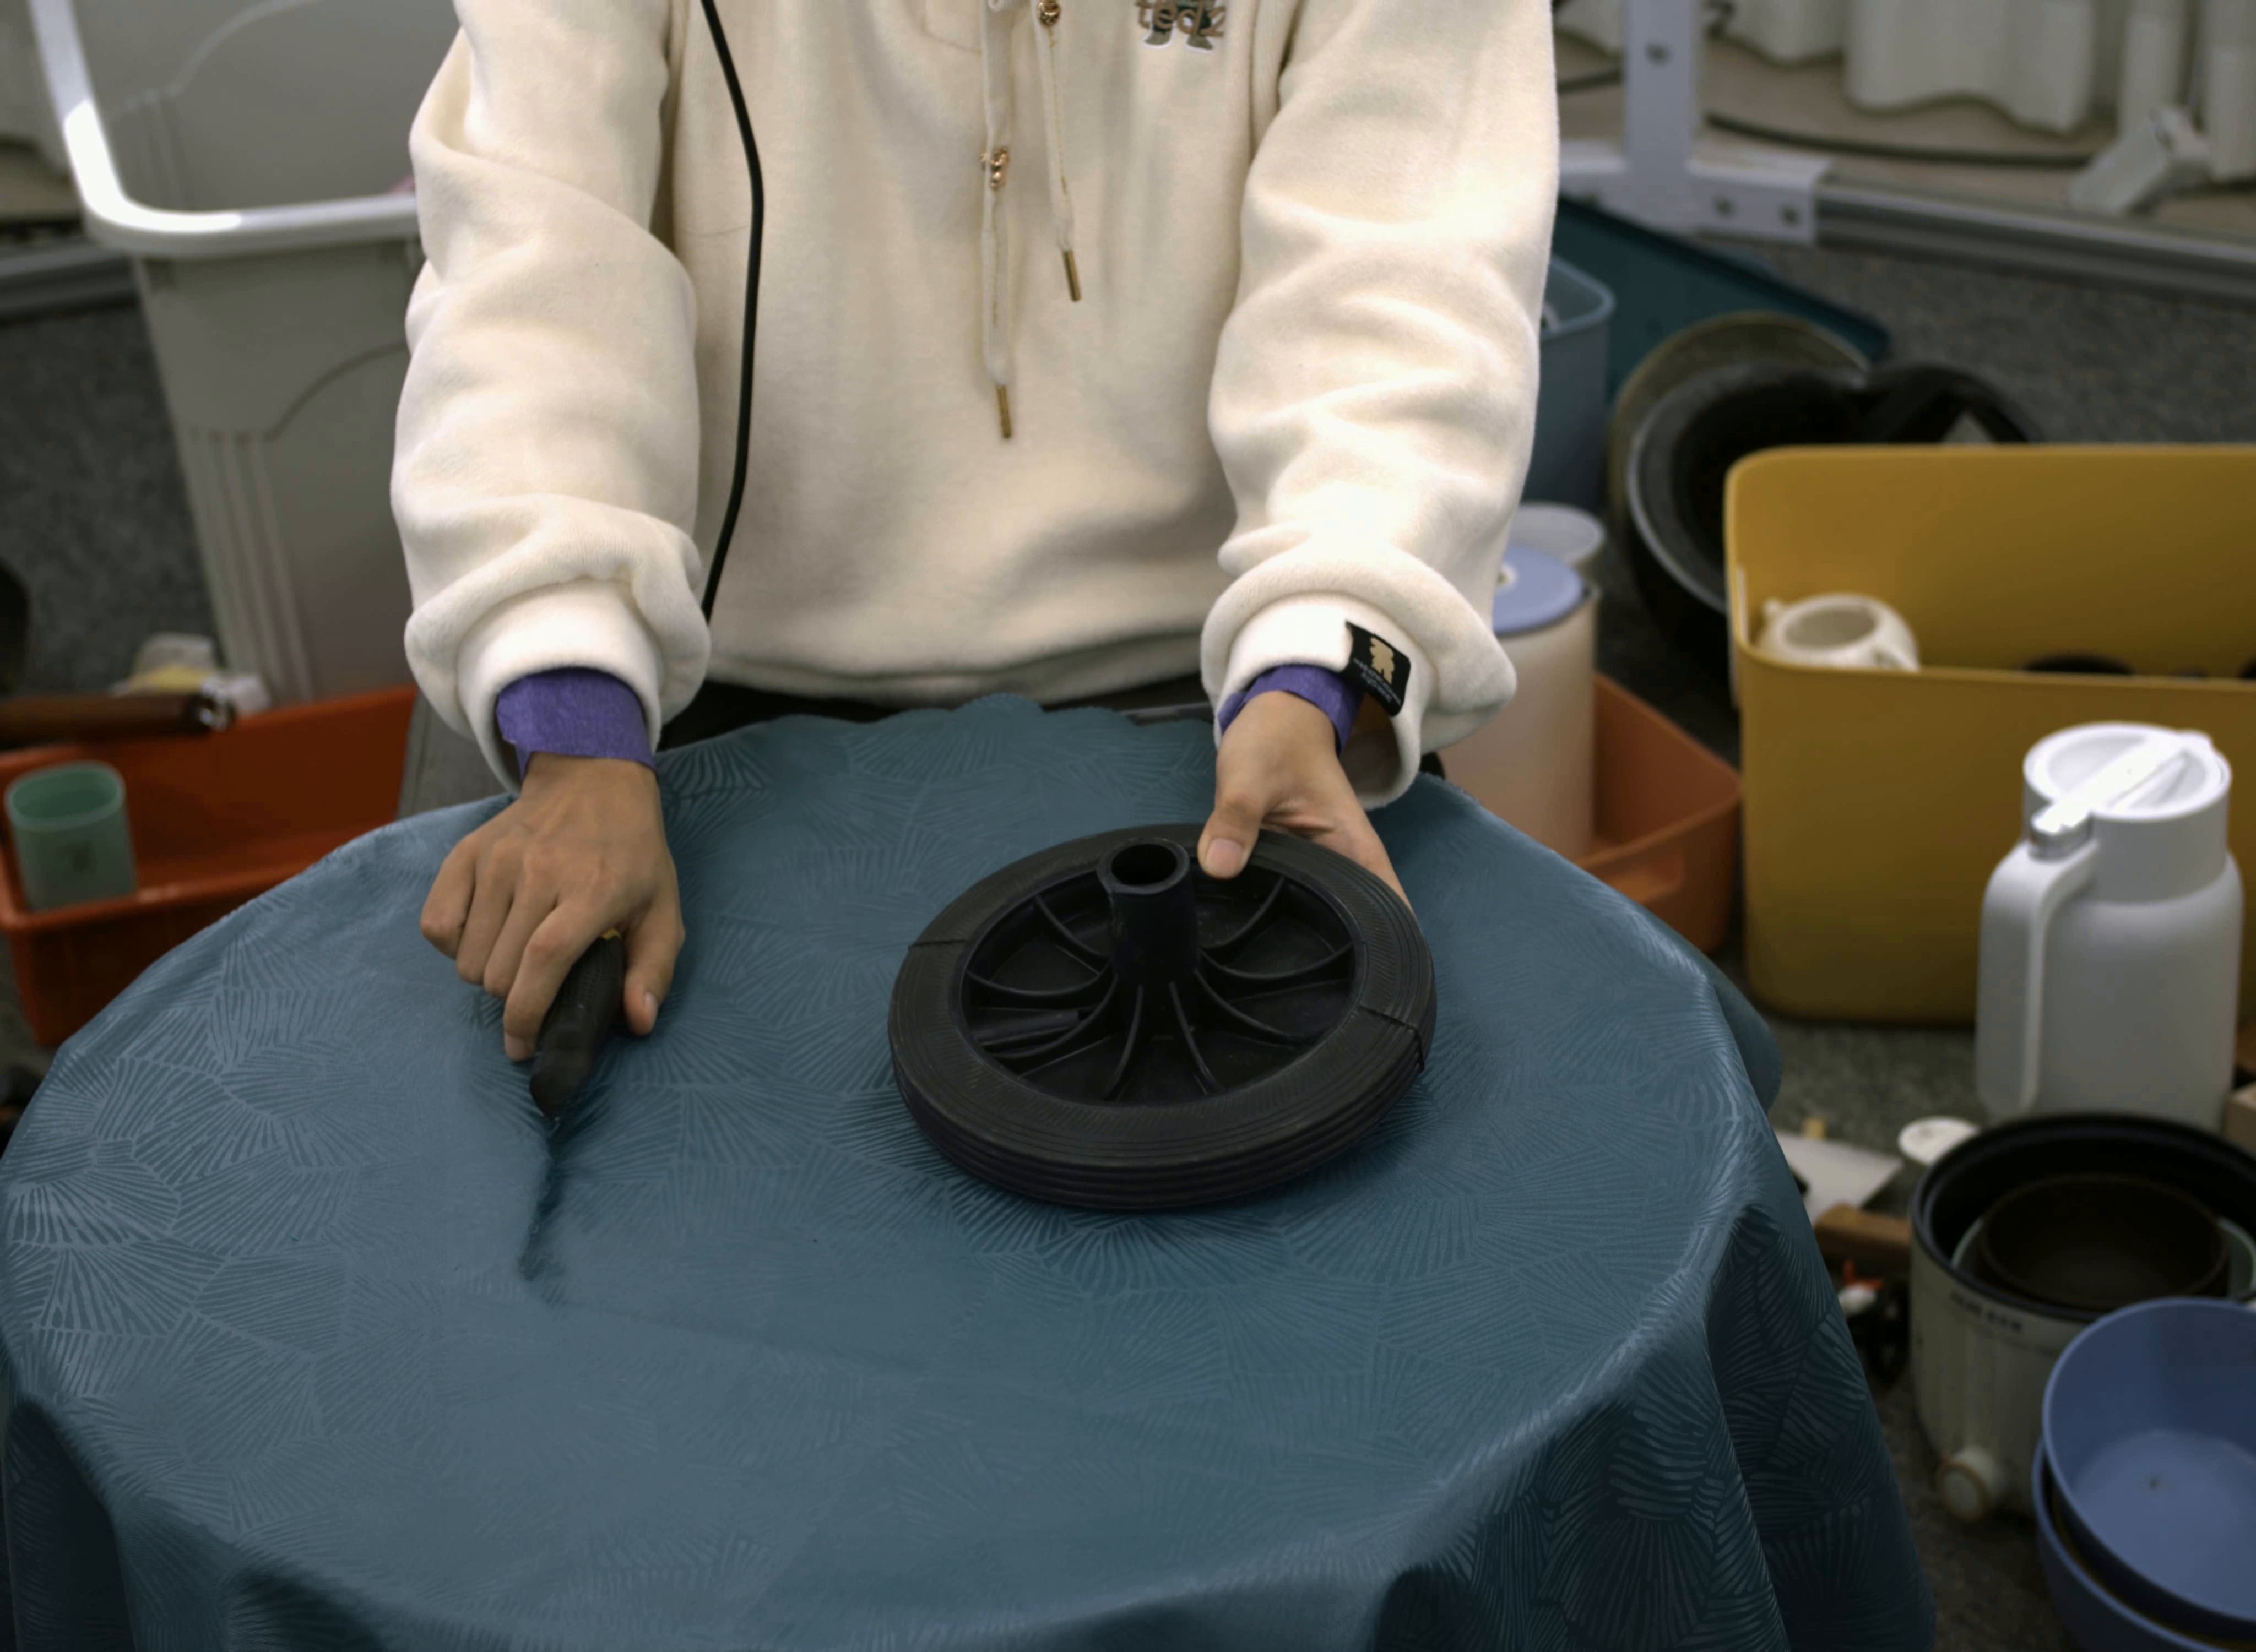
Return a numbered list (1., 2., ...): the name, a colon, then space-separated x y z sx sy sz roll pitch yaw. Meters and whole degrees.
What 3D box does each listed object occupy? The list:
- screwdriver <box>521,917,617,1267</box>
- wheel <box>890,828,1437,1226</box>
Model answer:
1. screwdriver: -0.198 0.091 1.913 0.031 0.031 0.201 -1 30 4
2. wheel: 0.008 0.050 1.903 0.191 0.078 0.188 -27 41 -22
